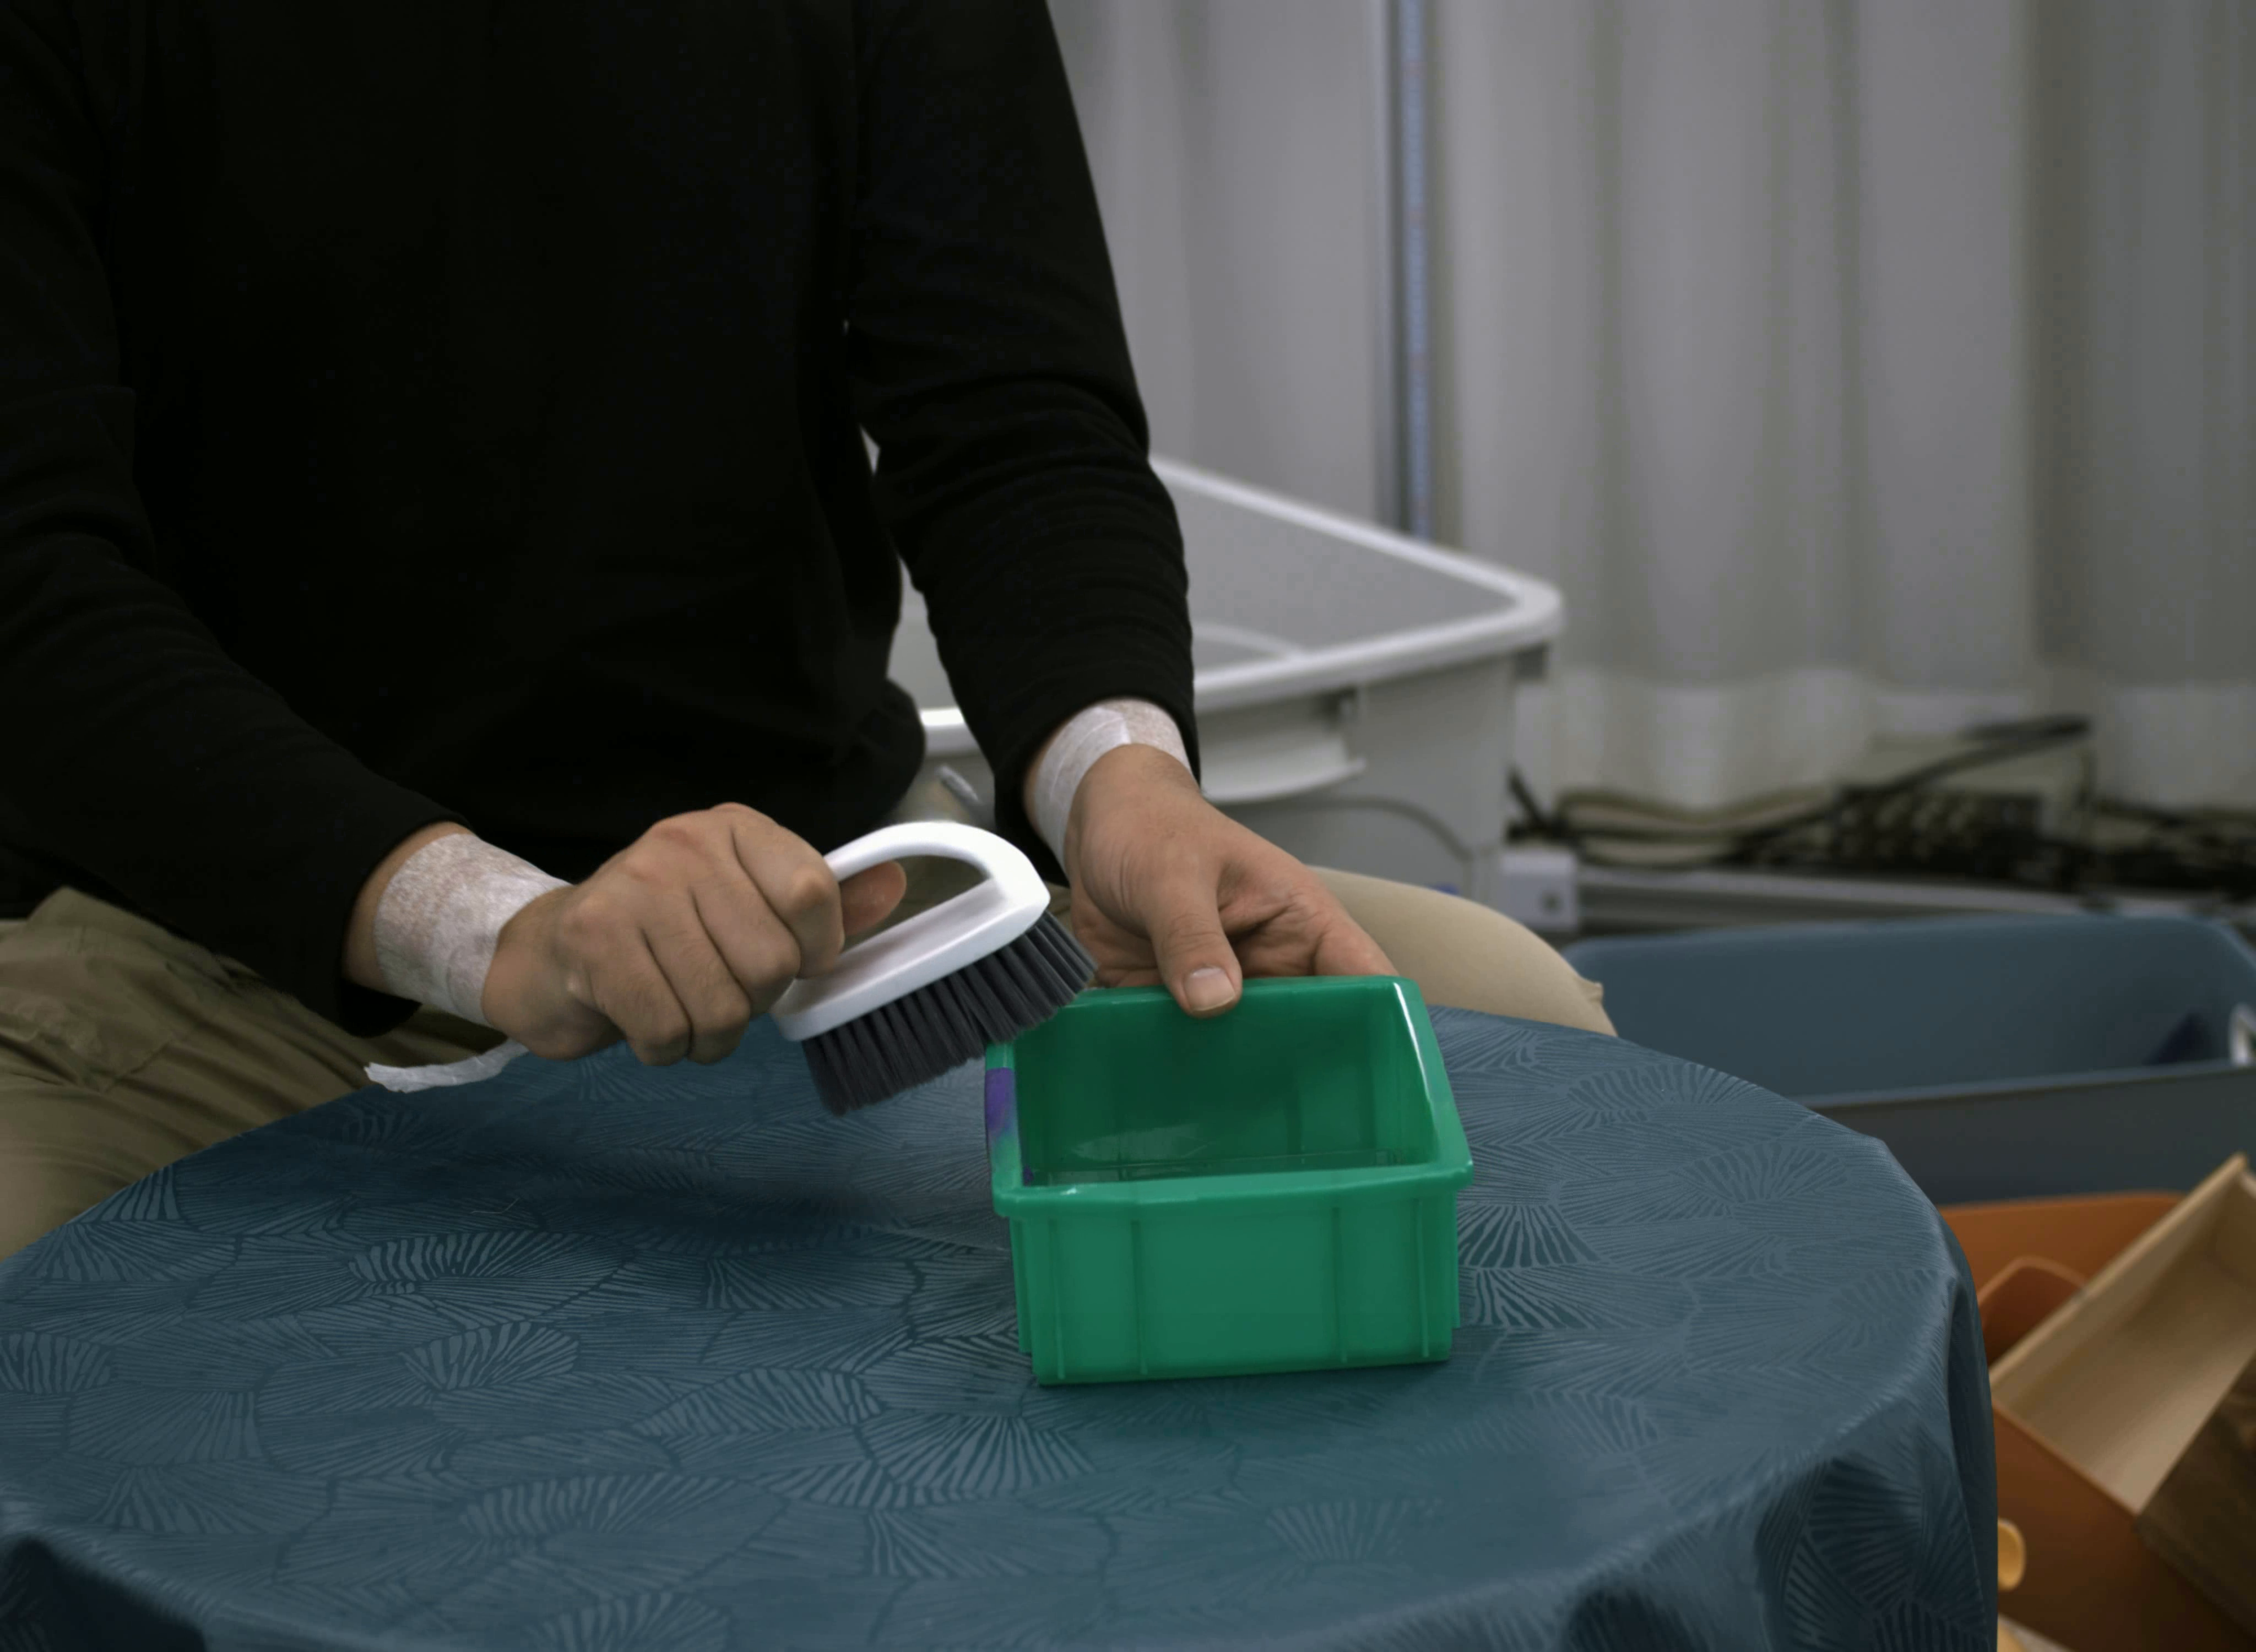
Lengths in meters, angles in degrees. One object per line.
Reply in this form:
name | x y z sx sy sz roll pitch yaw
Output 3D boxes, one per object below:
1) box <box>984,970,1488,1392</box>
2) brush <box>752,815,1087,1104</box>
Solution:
box | 0.030 0.105 1.626 0.138 0.065 0.212 -6 16 -2
brush | -0.071 0.035 1.695 0.099 0.072 0.050 -24 16 23
